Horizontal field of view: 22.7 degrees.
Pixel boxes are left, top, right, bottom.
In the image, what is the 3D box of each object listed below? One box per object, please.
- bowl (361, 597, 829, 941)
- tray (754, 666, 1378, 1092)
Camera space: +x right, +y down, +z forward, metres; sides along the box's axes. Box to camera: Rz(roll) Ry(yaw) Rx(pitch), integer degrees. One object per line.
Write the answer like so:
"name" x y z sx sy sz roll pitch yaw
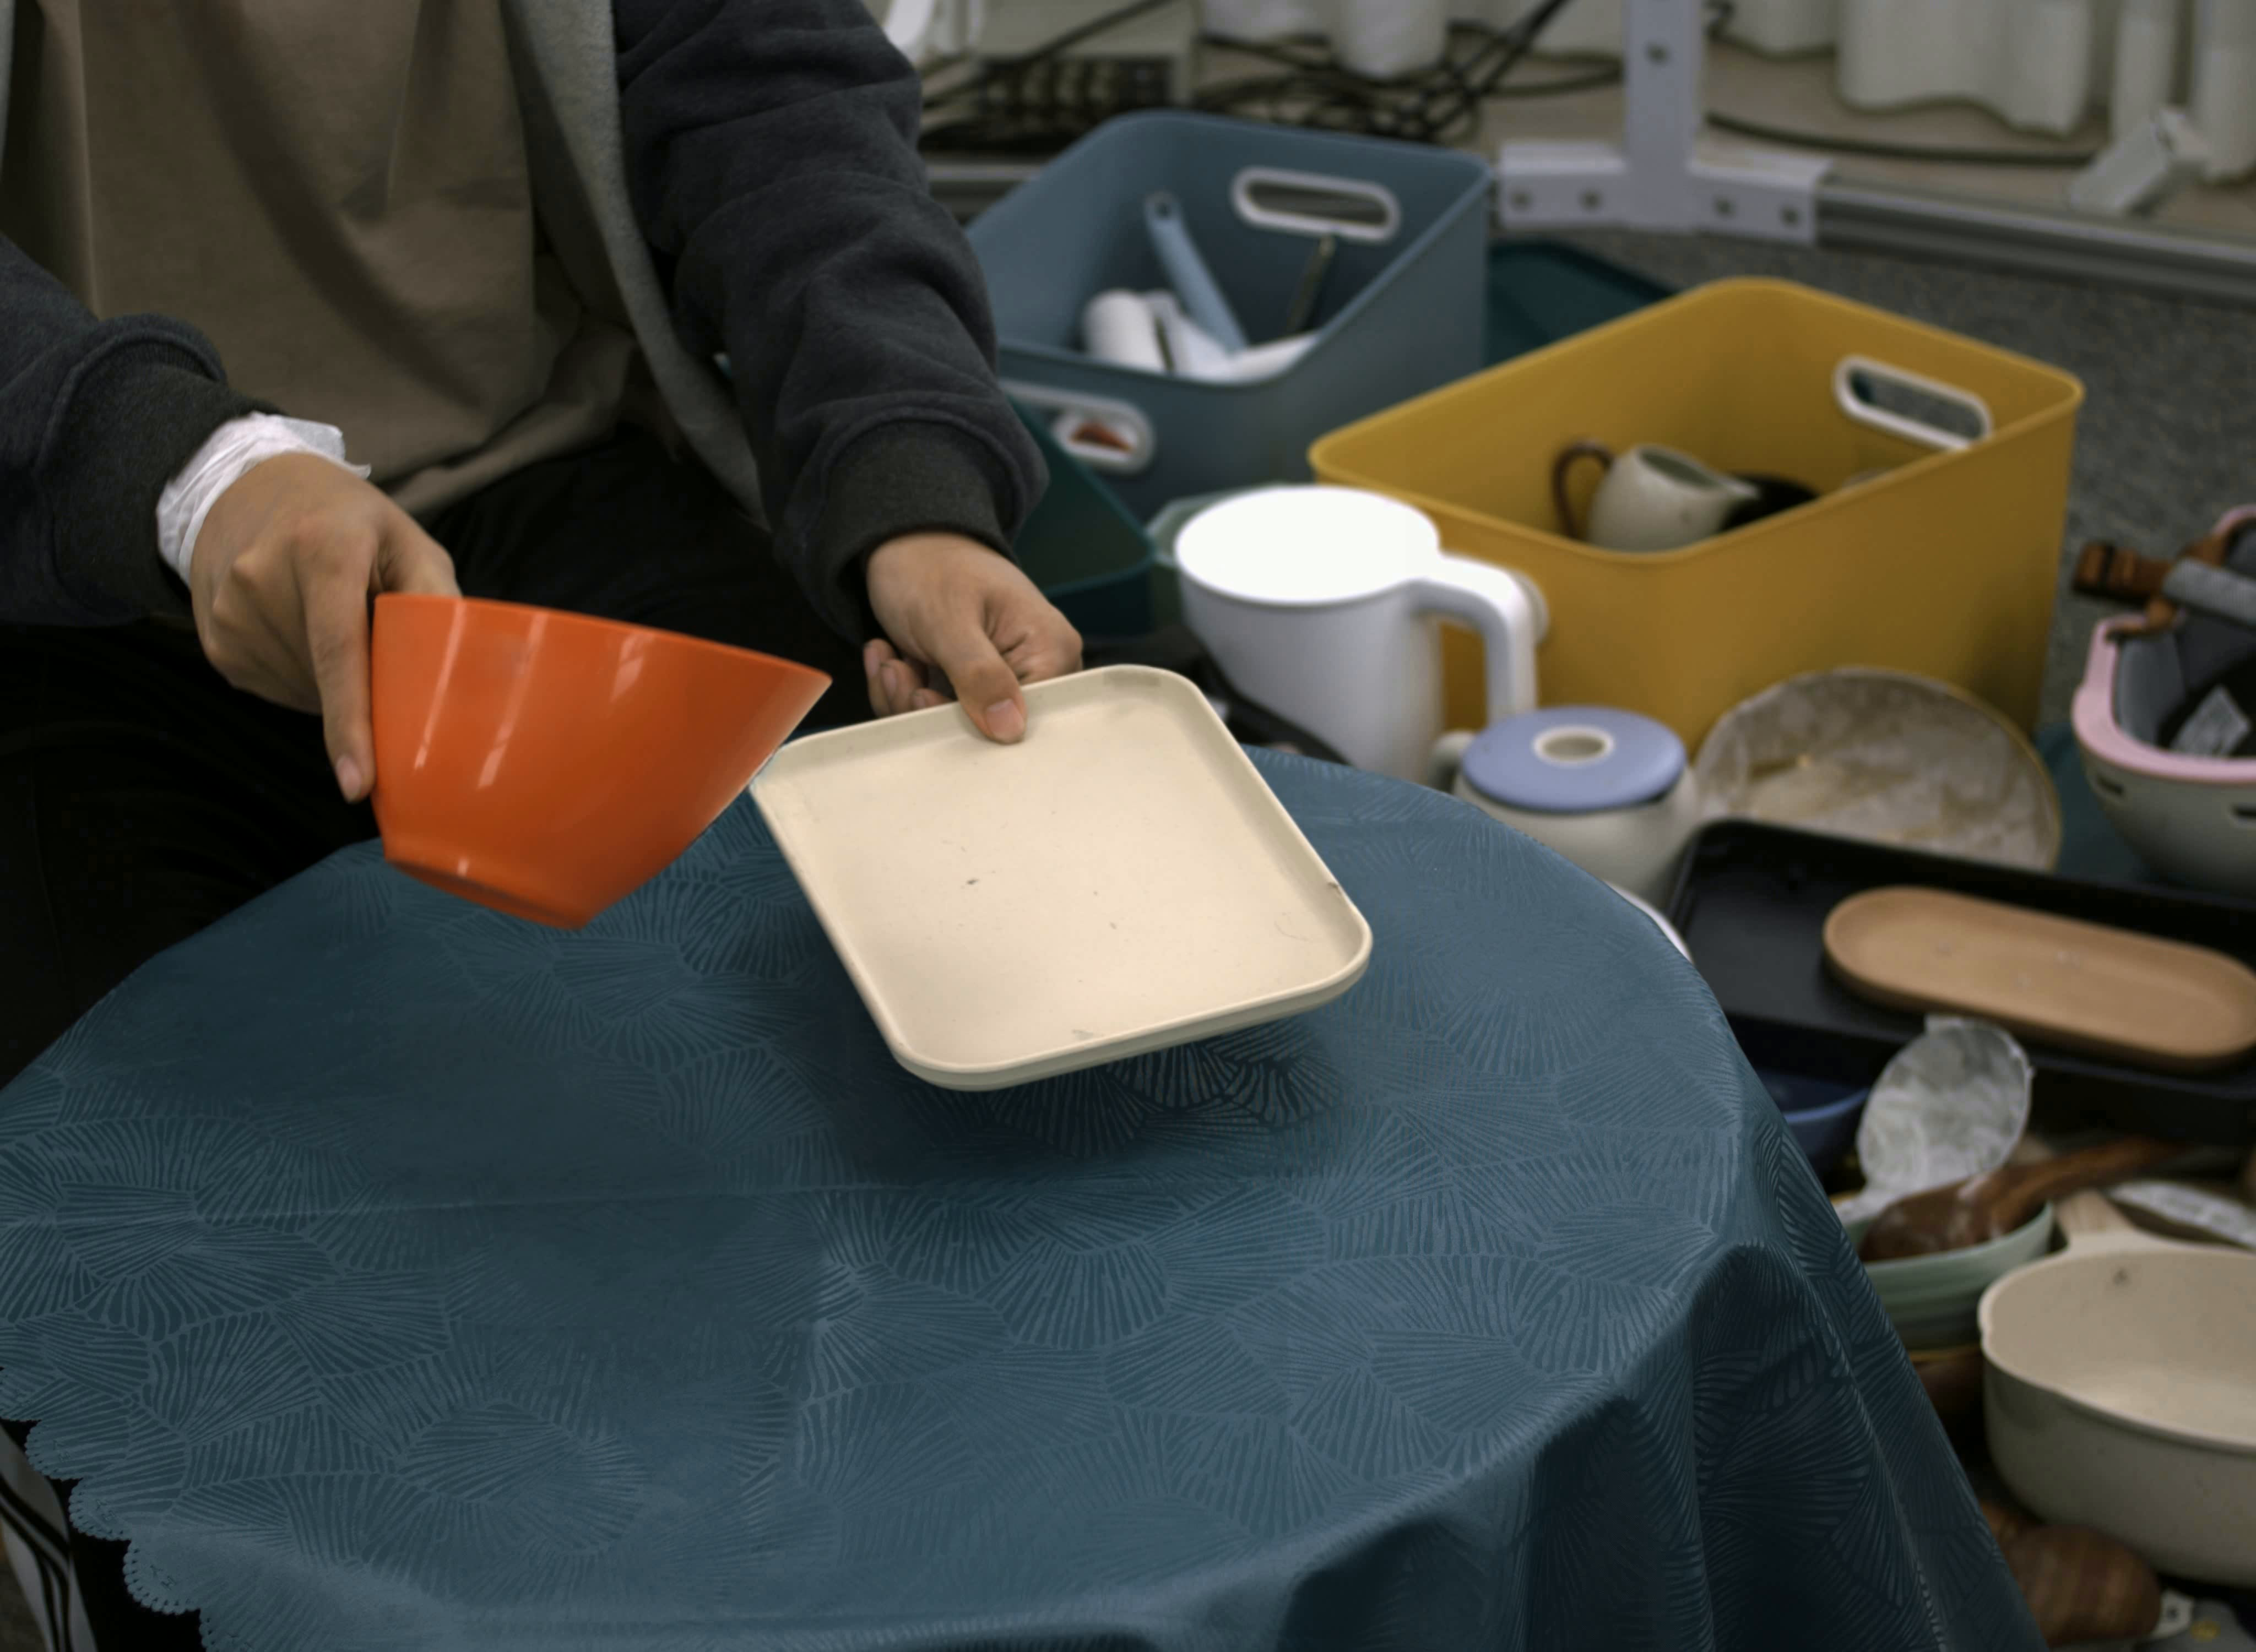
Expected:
"bowl" -0.182 -0.018 1.807 0.147 0.105 0.147 18 -8 3
"tray" -0.024 0.017 1.955 0.171 0.017 0.242 -13 31 -14
